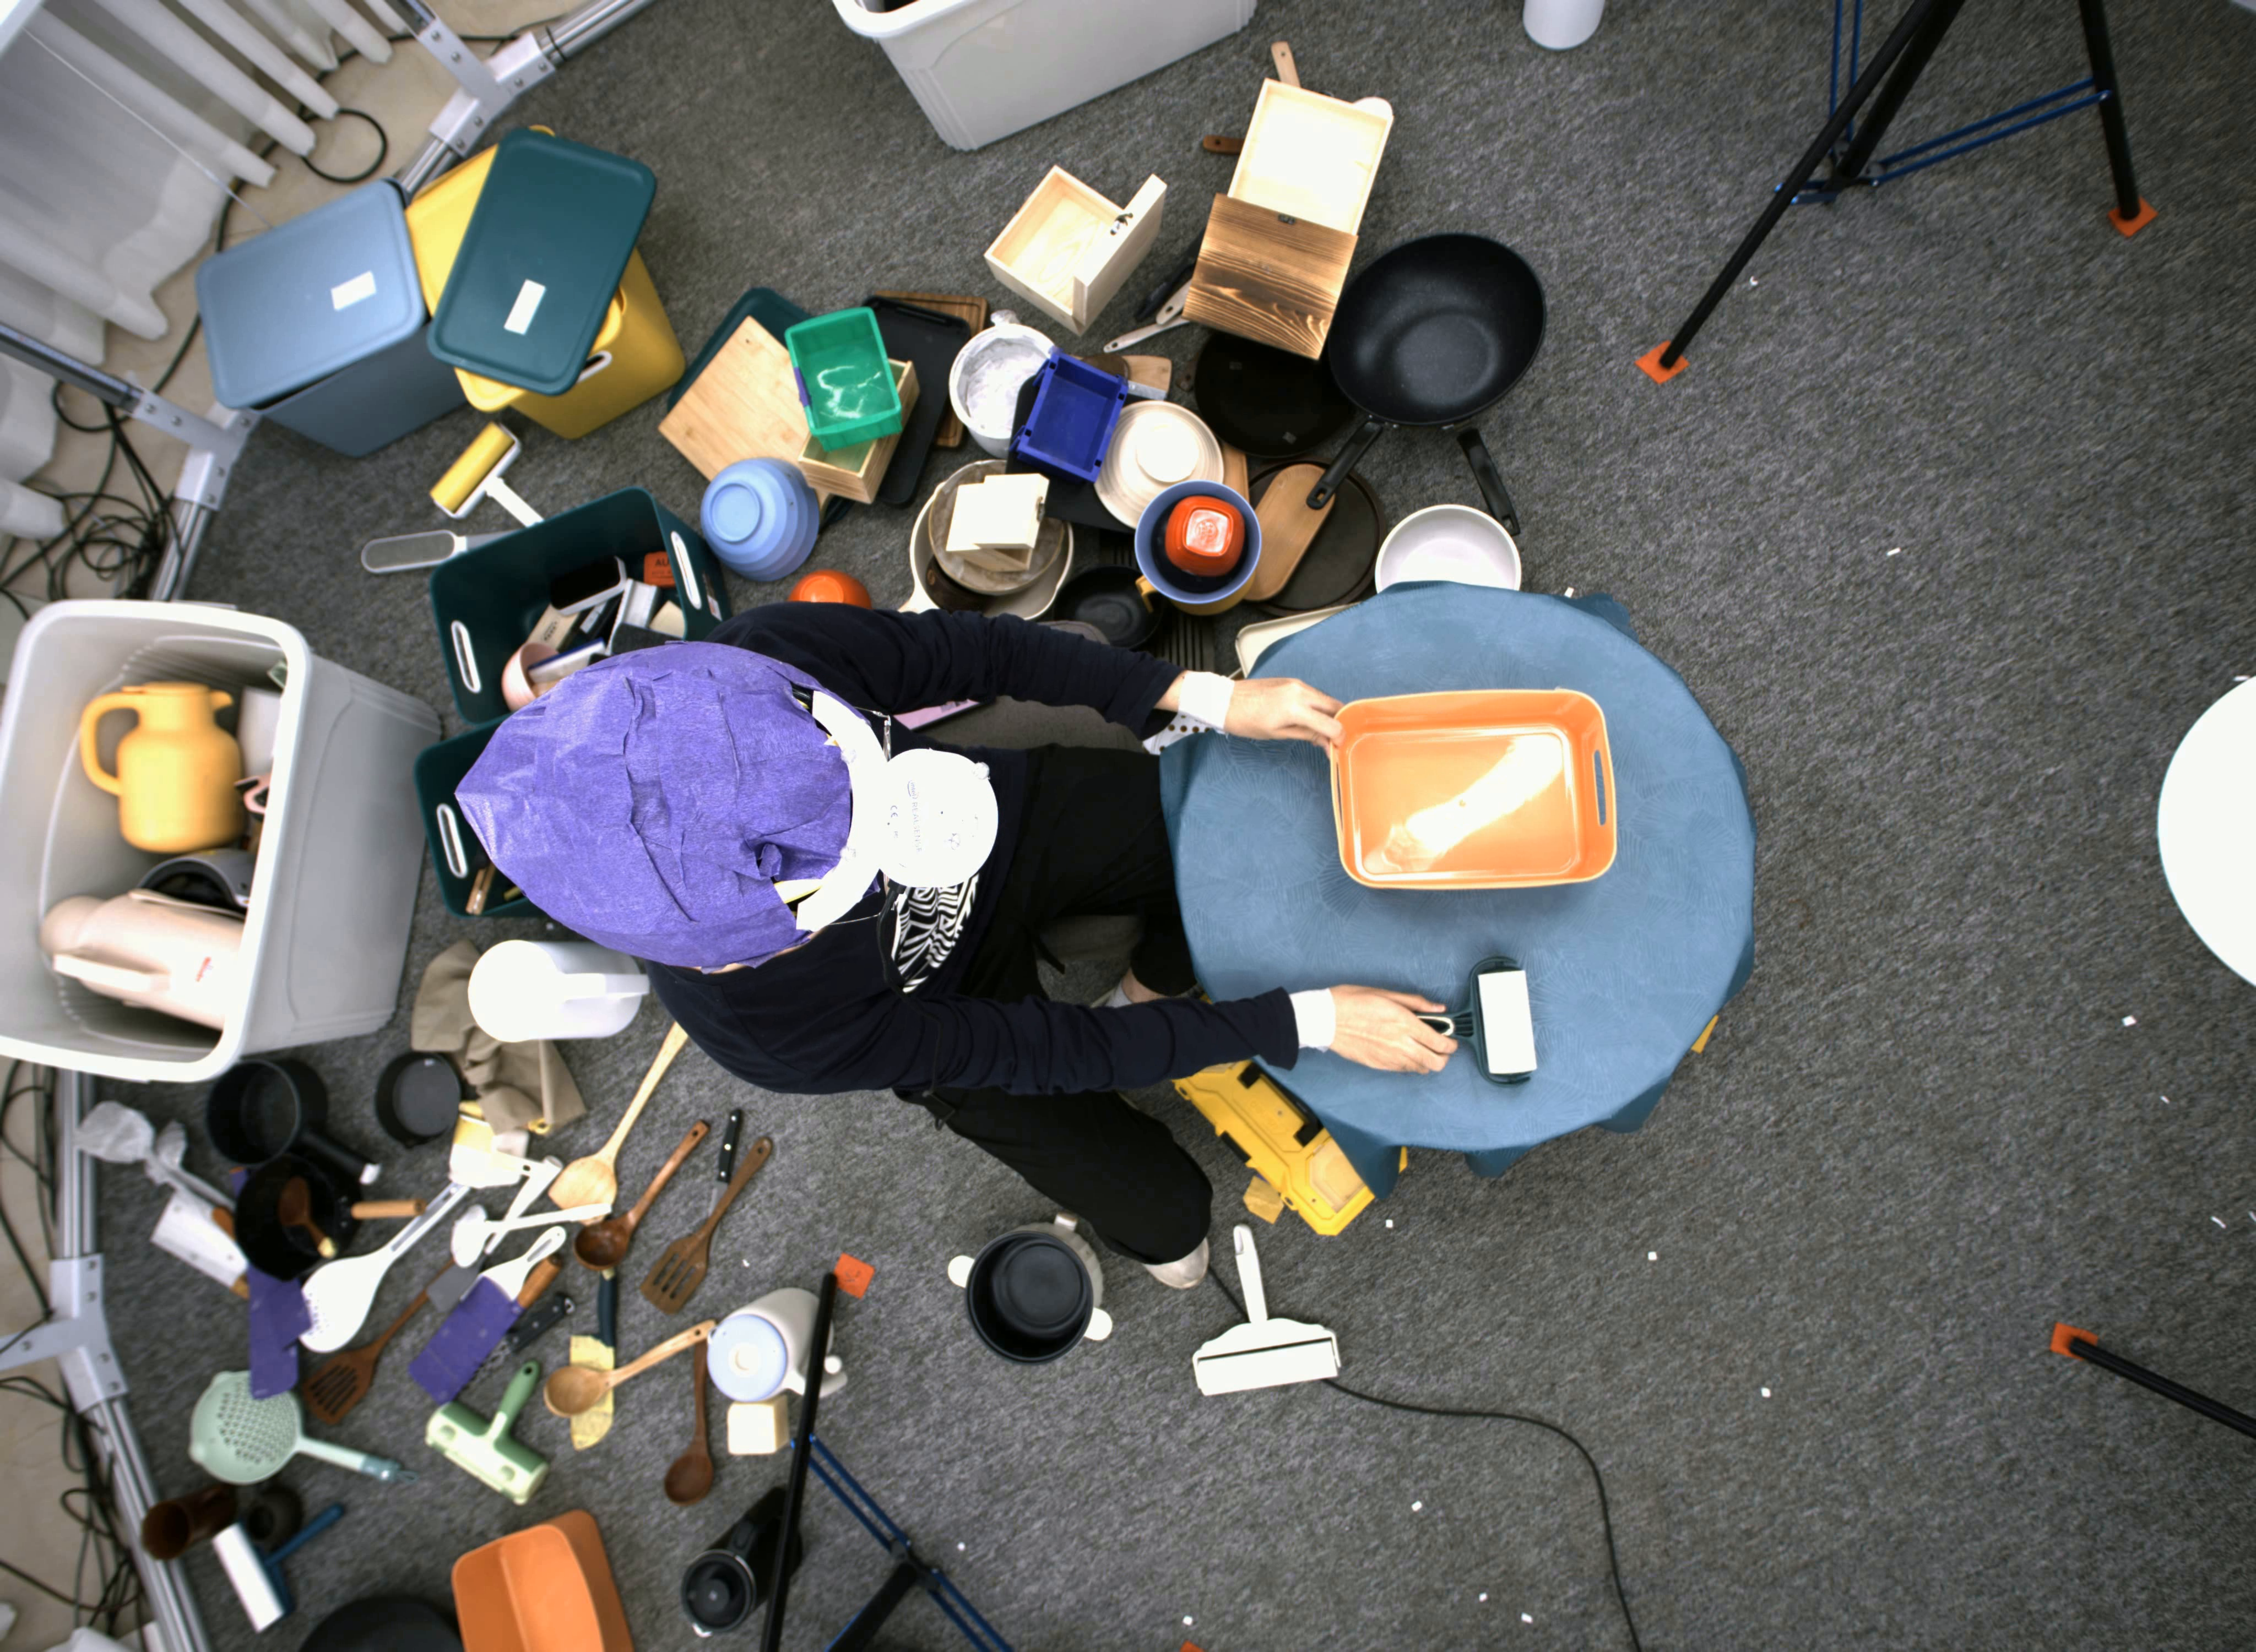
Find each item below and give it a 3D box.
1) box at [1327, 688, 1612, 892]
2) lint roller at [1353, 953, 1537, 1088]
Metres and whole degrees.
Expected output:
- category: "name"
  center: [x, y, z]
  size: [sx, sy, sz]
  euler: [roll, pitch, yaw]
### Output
- category: "box"
  center: [0.341, -0.030, 1.394]
  size: [0.274, 0.103, 0.198]
  euler: [-4, 83, 10]
- category: "lint roller"
  center: [0.321, 0.204, 1.414]
  size: [0.181, 0.048, 0.133]
  euler: [-7, 86, 10]
